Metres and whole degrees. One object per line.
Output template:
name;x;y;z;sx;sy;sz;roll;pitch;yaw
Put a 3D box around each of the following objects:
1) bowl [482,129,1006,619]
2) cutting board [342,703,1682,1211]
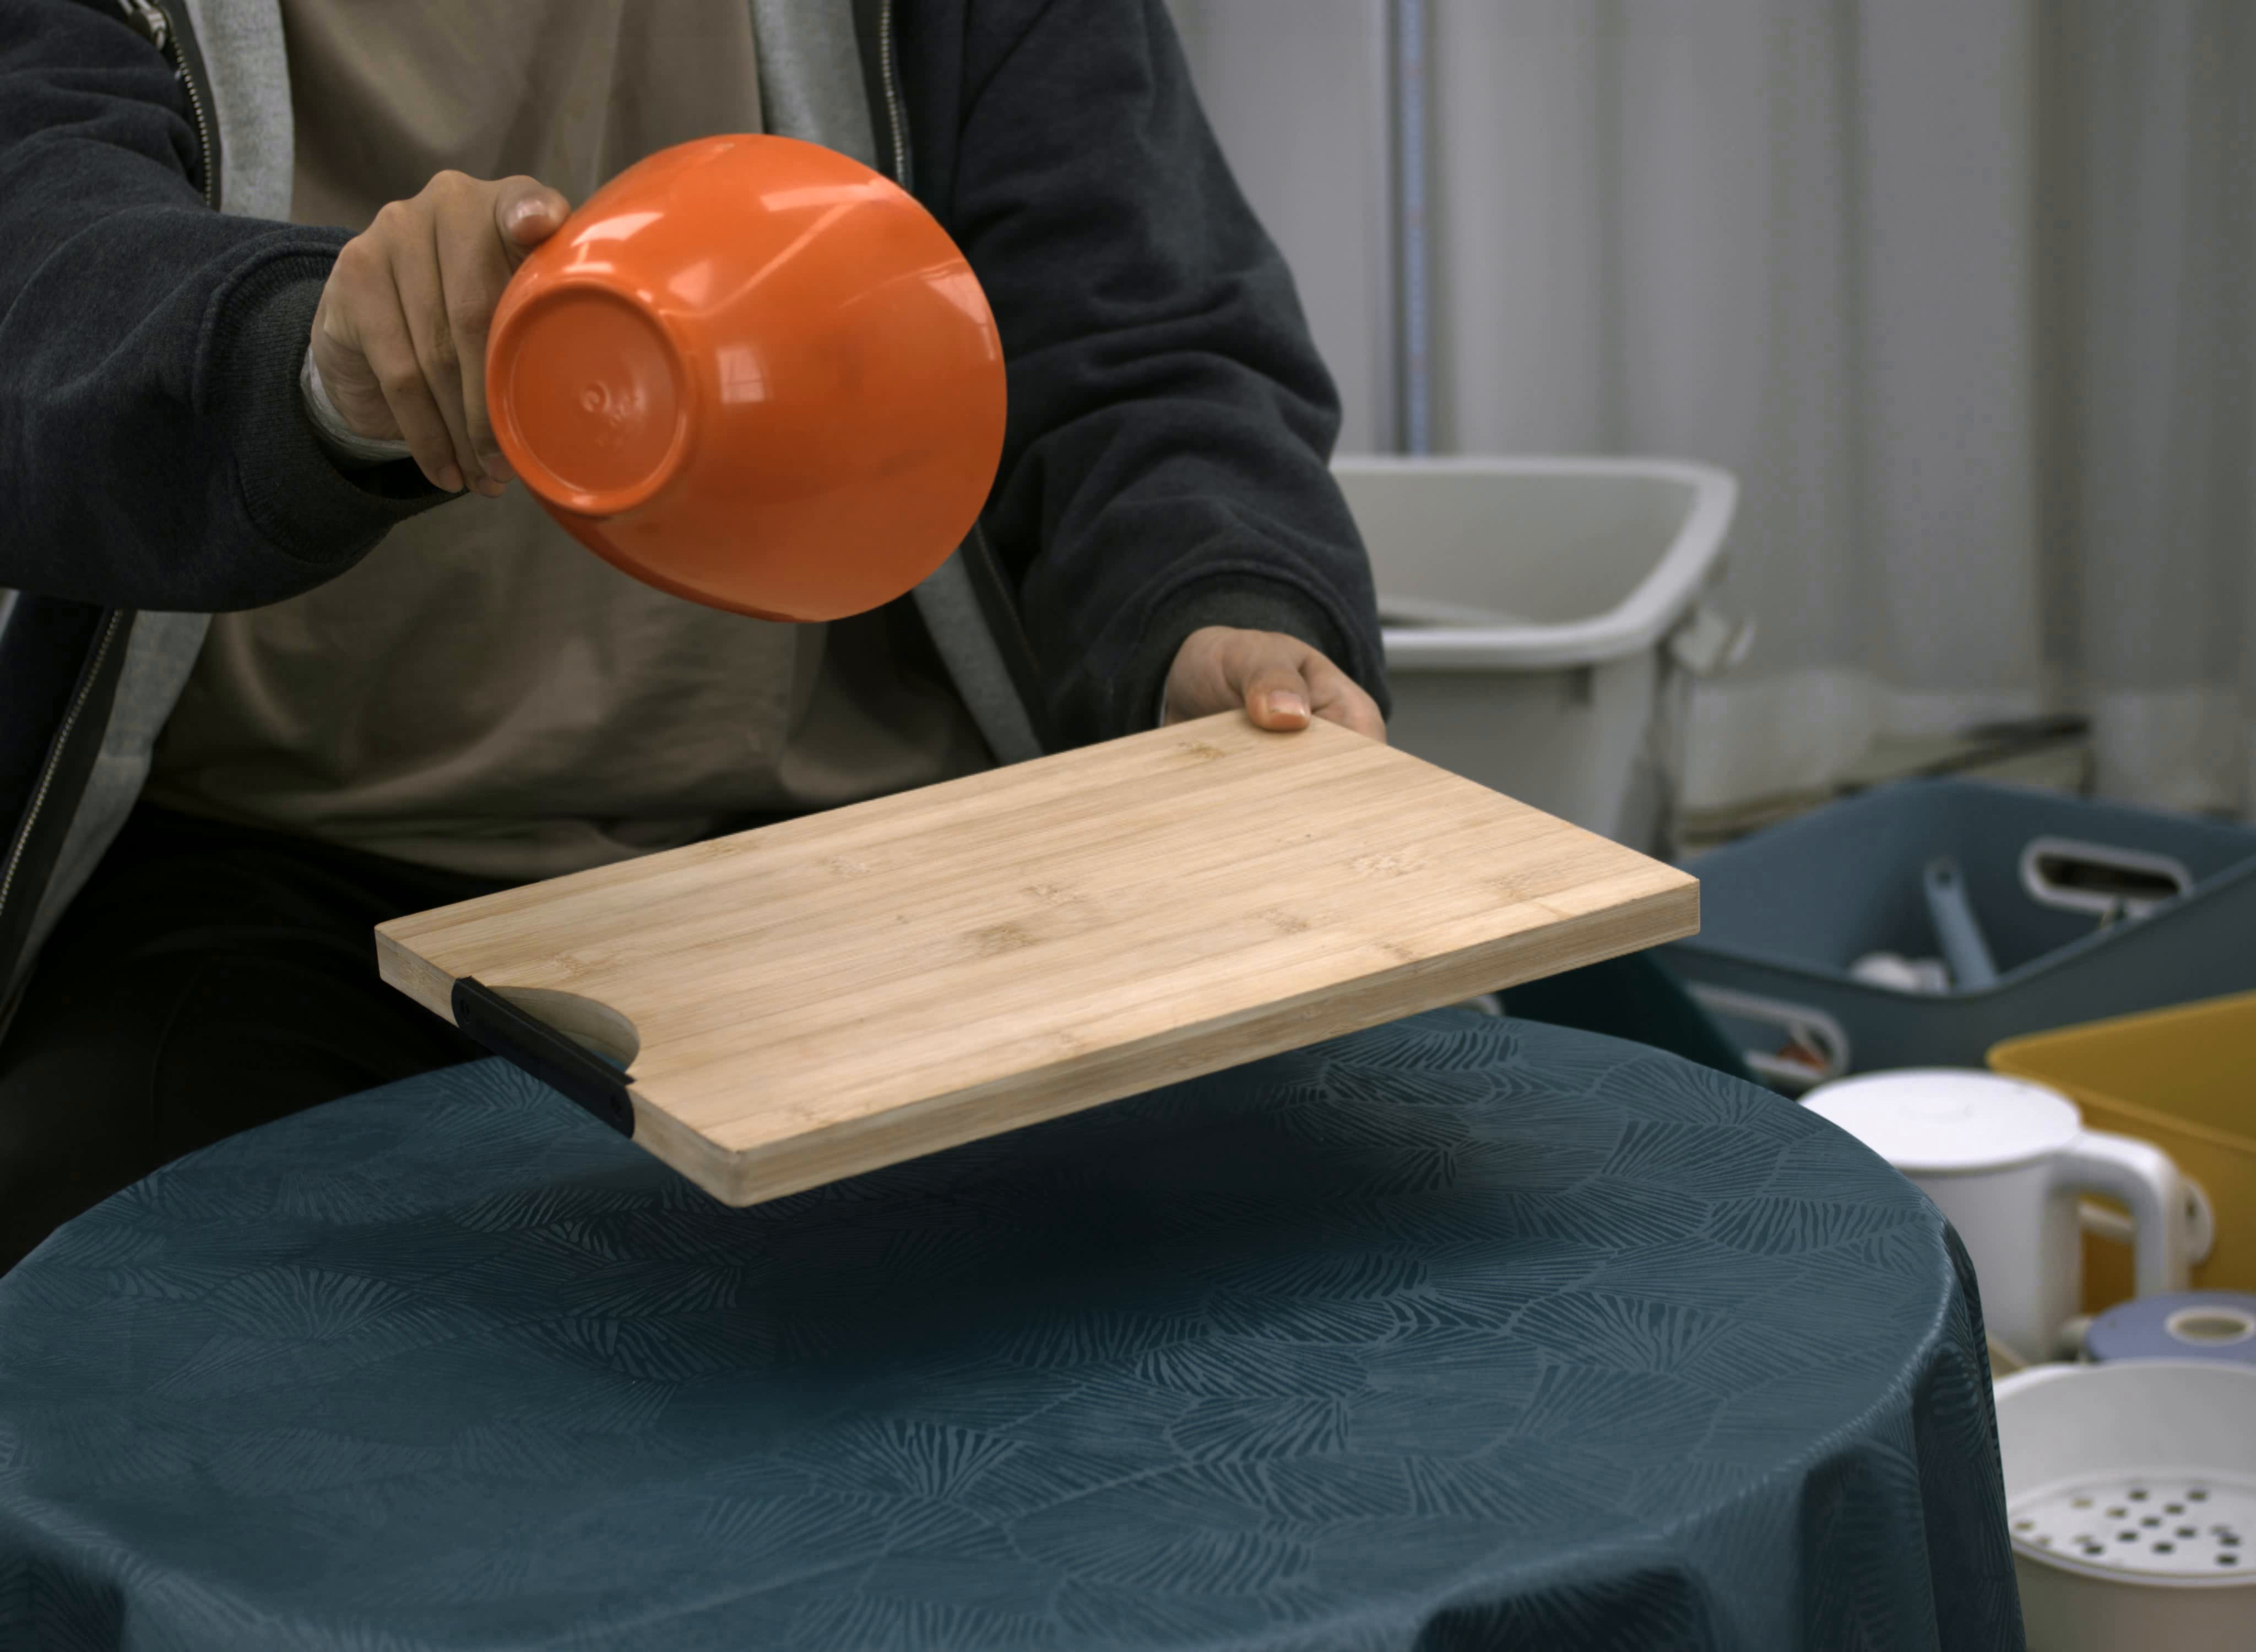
bowl;-0.122;-0.124;1.575;0.148;0.147;0.105;4;14;25
cutting board;-0.035;0.034;1.692;0.347;0.023;0.253;-14;21;-30
